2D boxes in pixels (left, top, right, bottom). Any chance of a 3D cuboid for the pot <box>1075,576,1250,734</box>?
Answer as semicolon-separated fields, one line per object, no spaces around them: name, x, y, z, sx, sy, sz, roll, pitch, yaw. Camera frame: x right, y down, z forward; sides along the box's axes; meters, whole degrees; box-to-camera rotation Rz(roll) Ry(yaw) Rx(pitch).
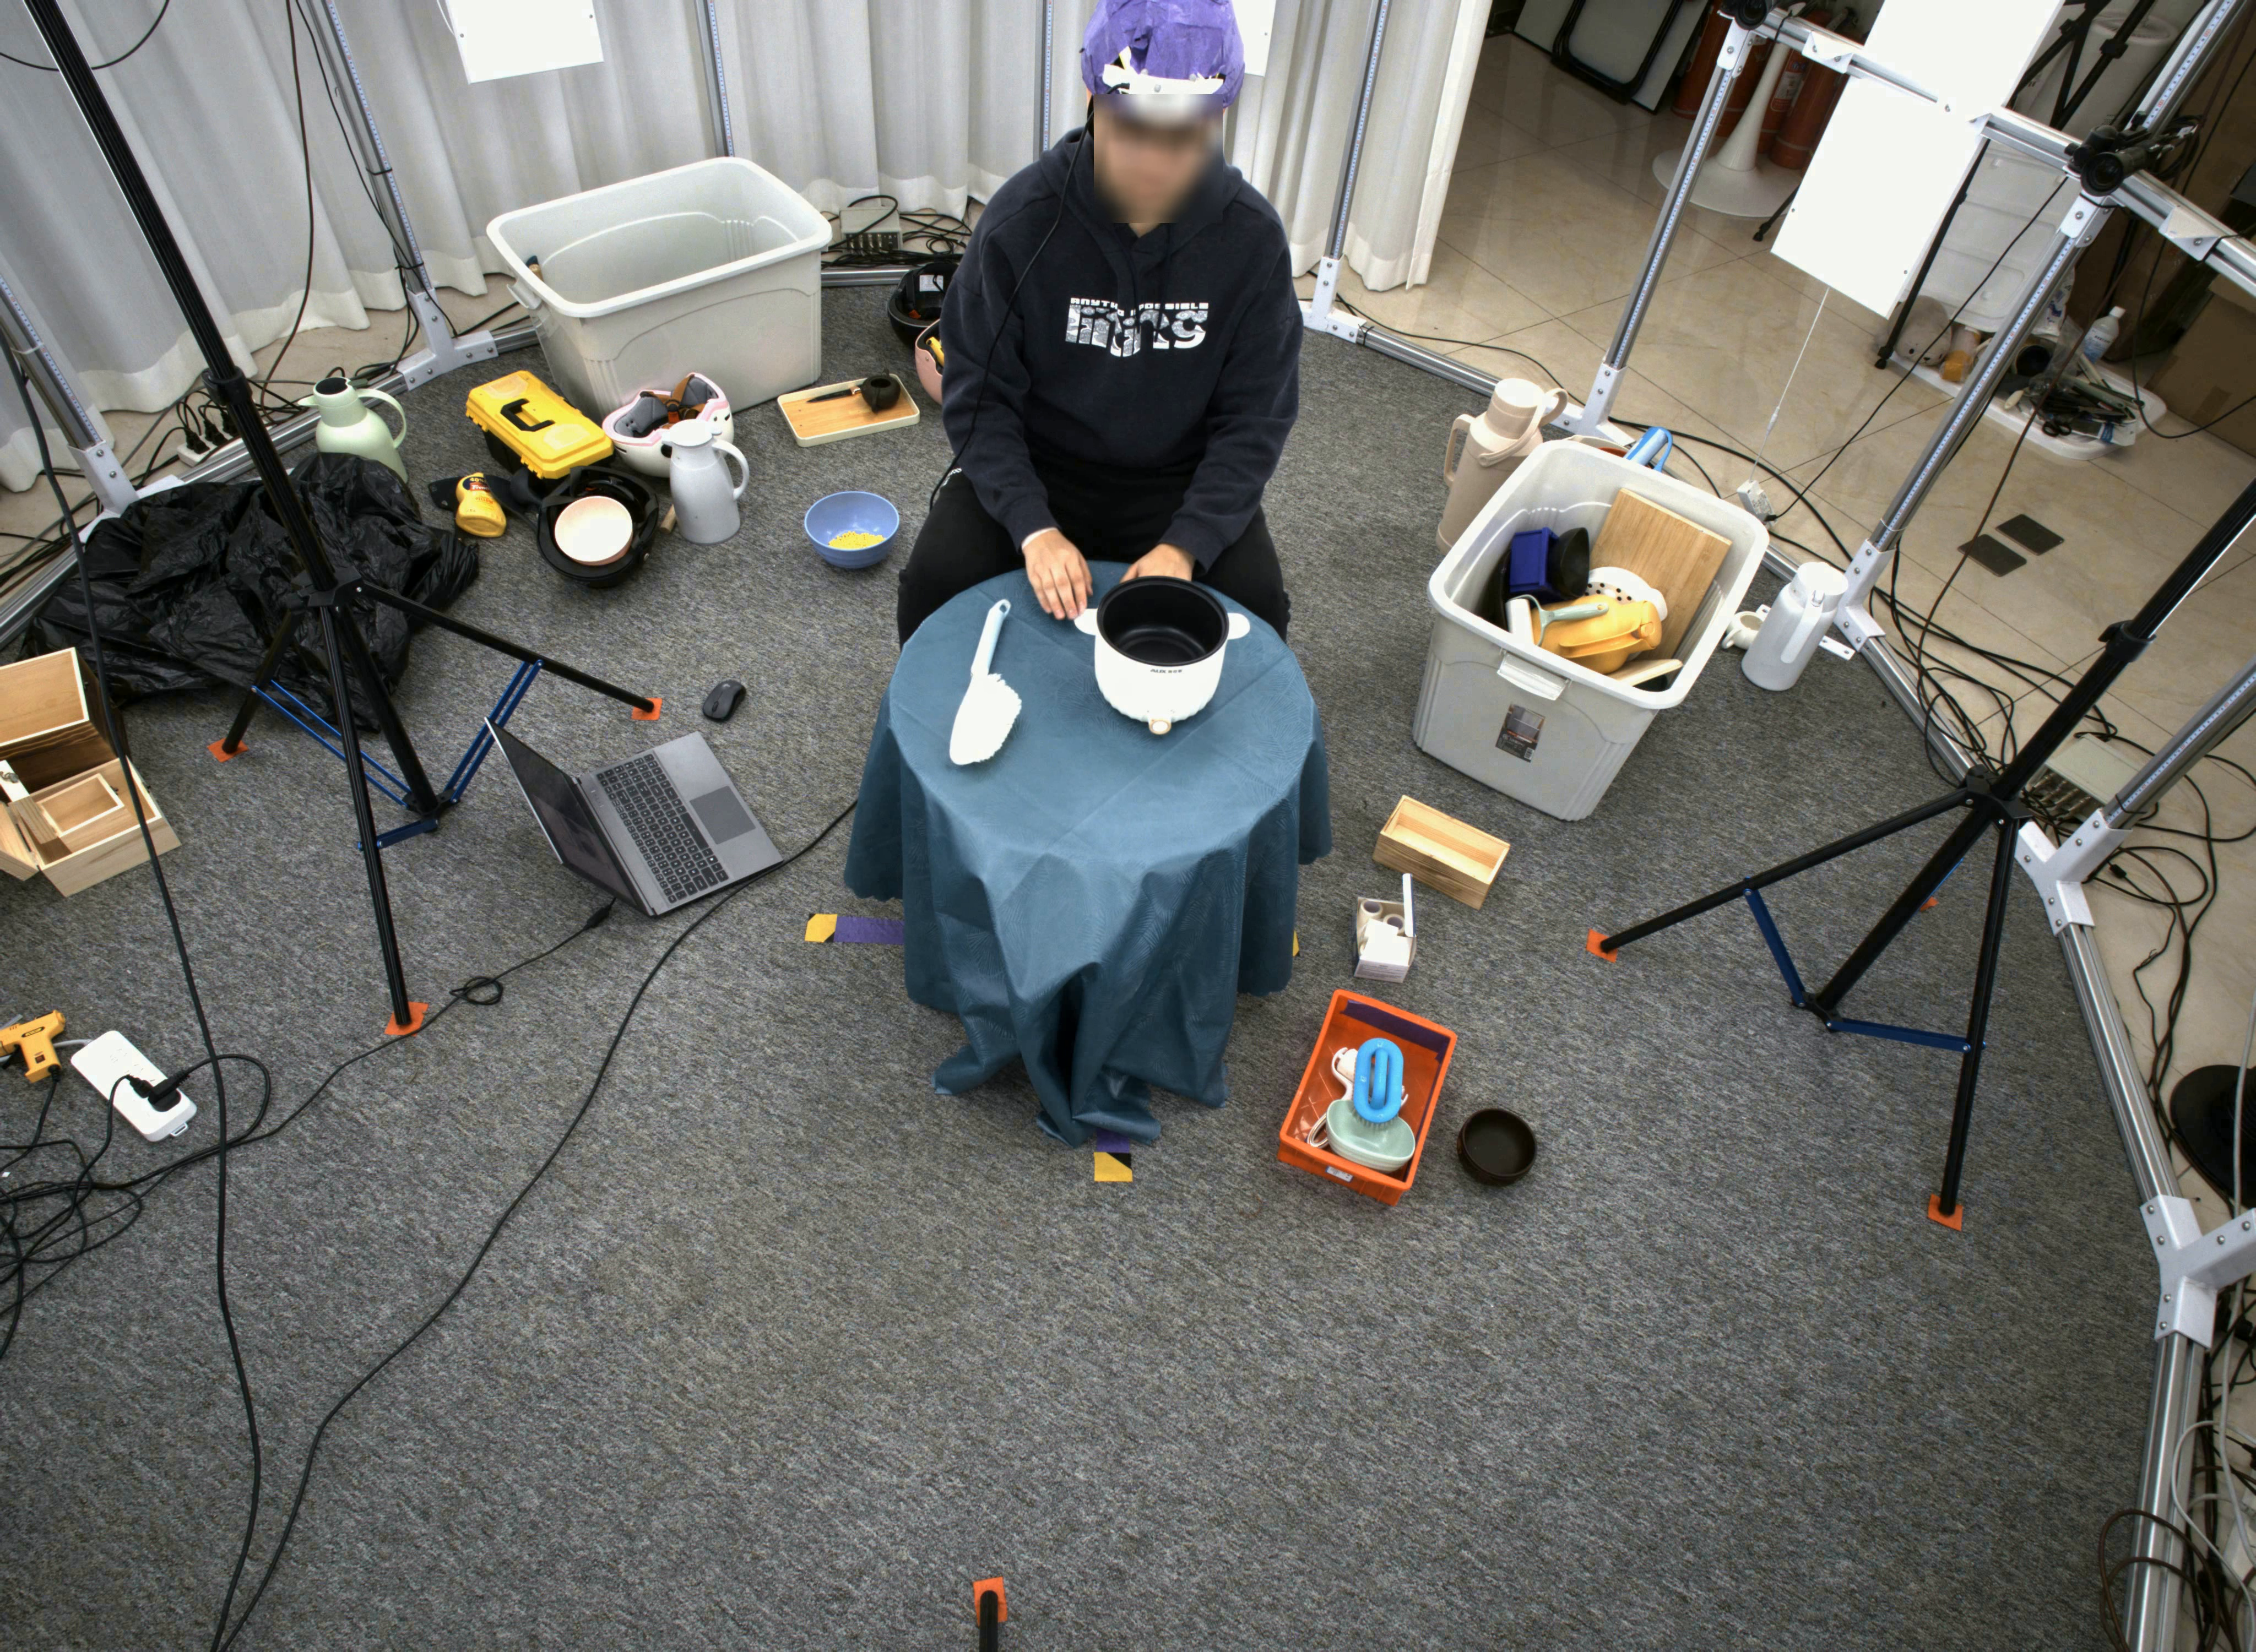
pot;0.045;-0.235;1.783;0.240;0.139;0.195;0;46;-4

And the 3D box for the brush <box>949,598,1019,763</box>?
brush;-0.184;-0.221;1.790;0.084;0.081;0.333;6;50;5
